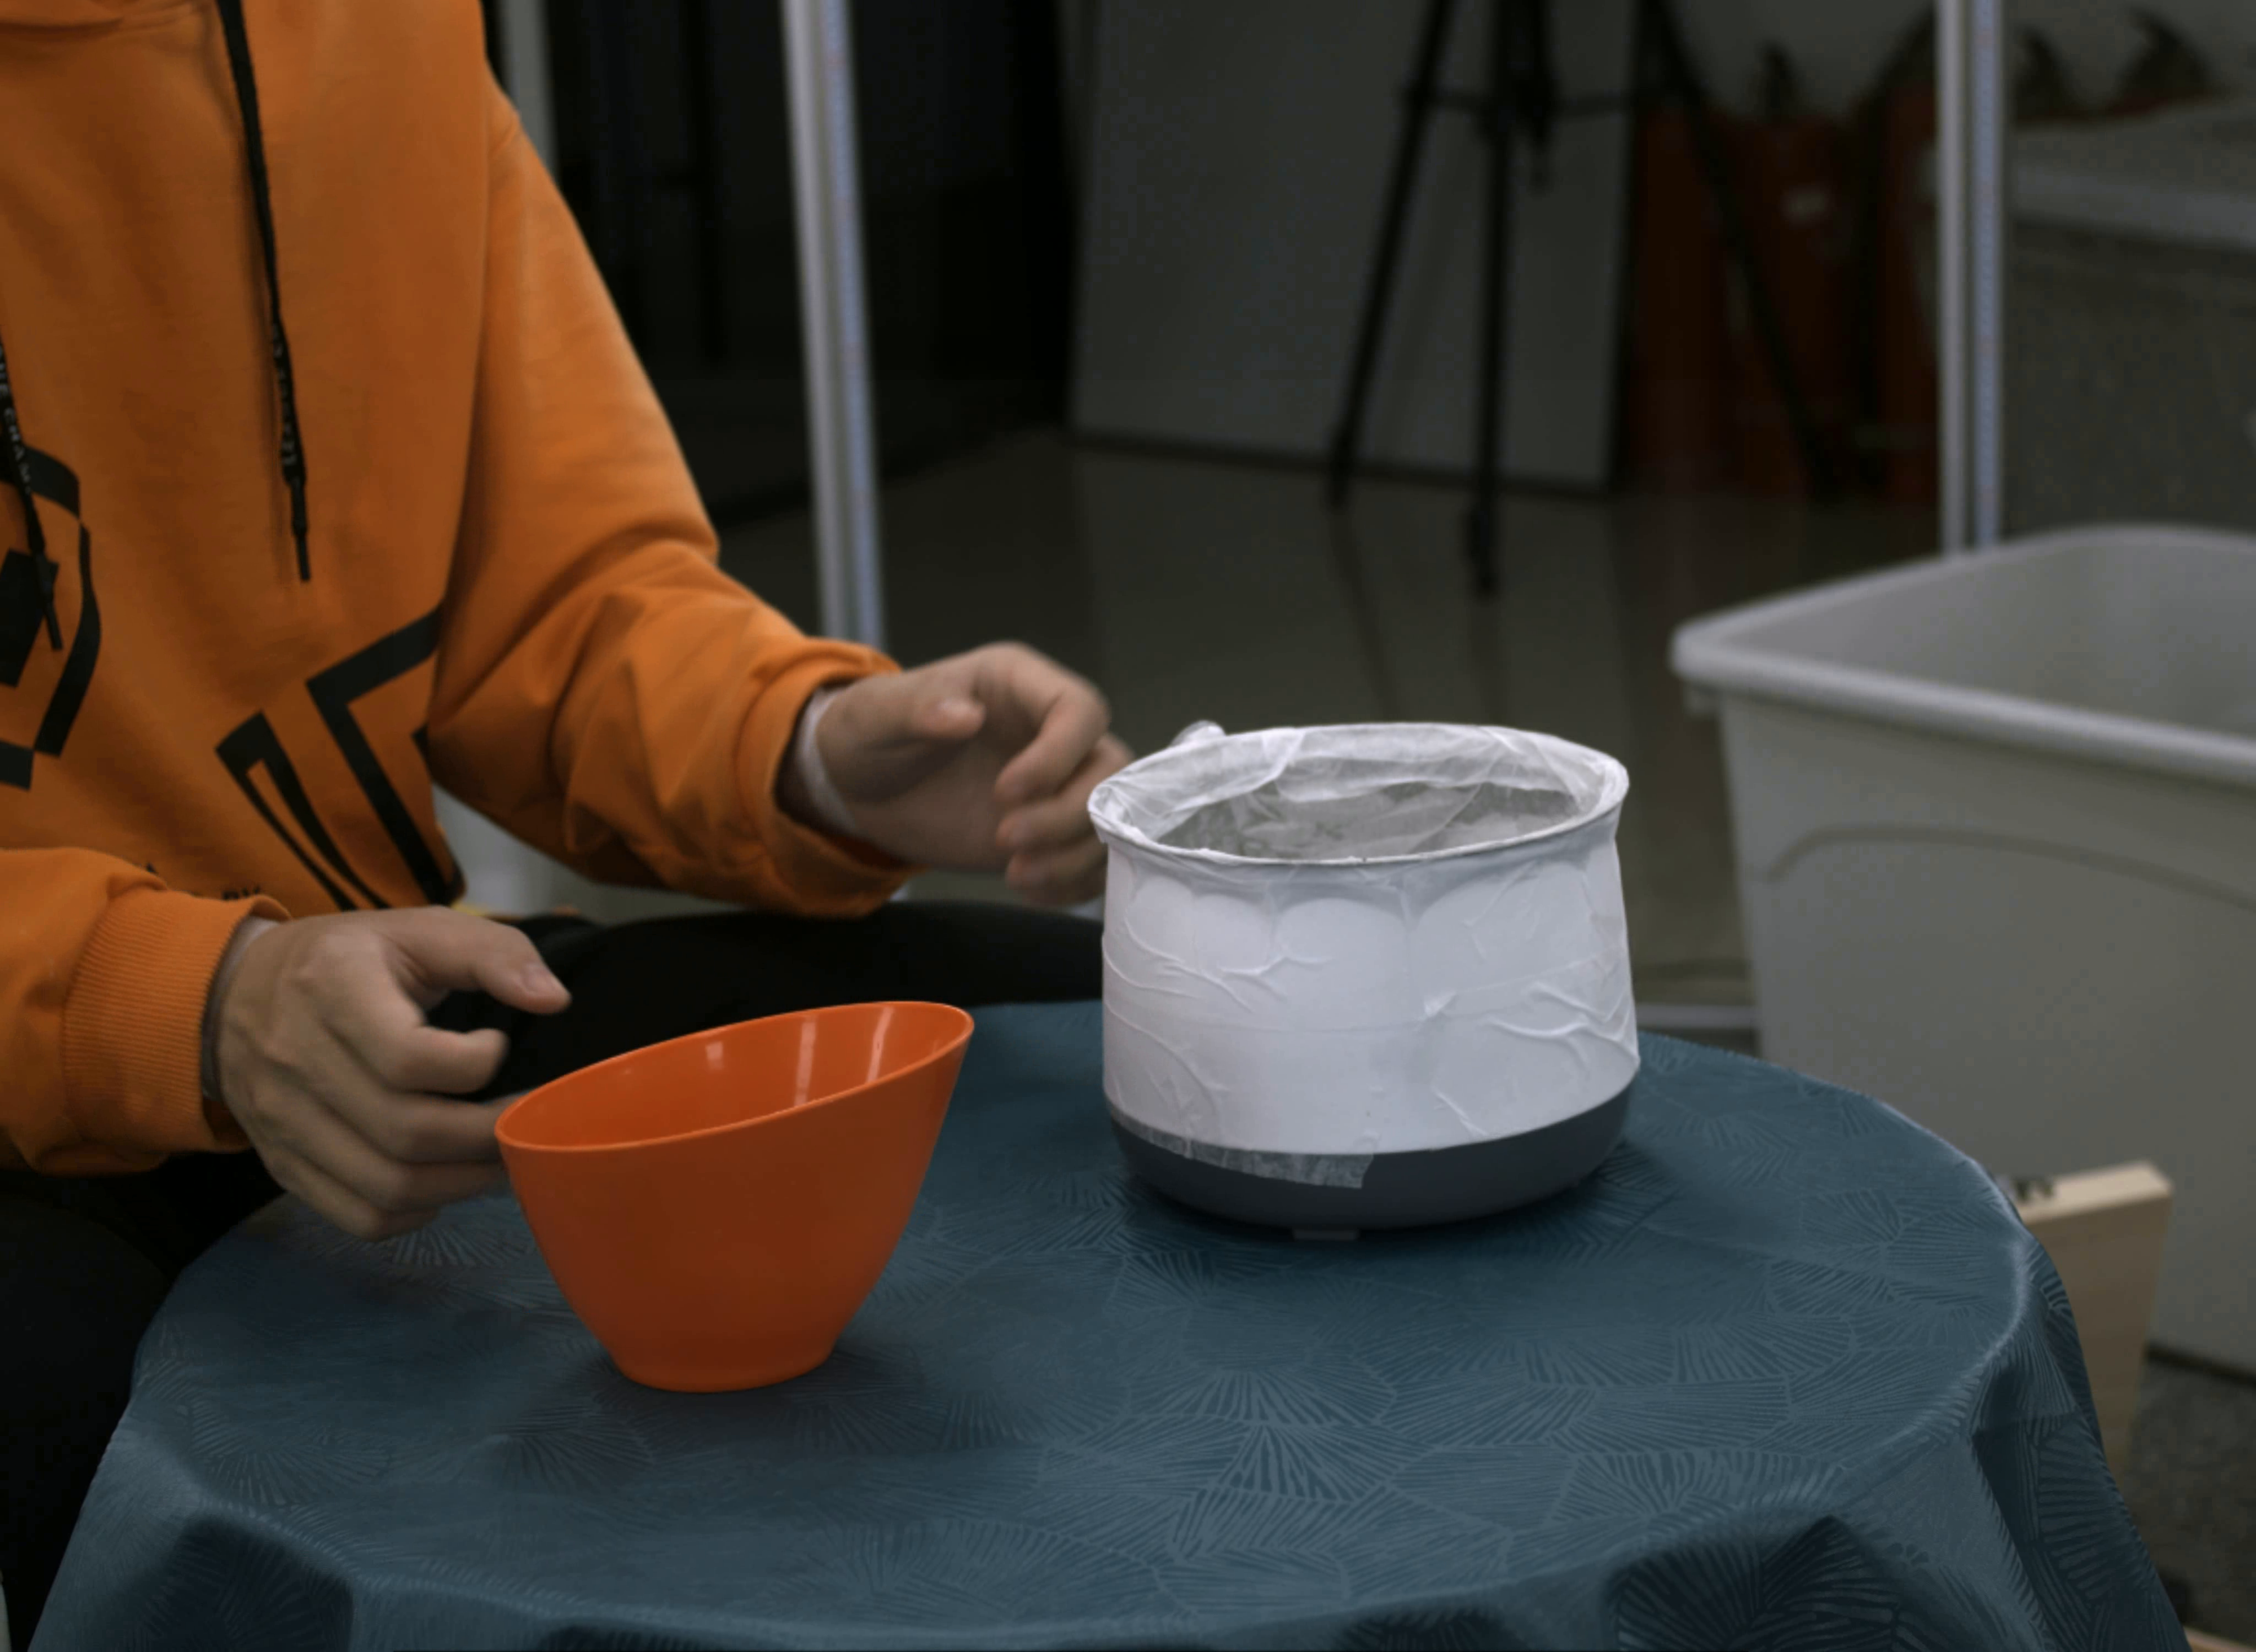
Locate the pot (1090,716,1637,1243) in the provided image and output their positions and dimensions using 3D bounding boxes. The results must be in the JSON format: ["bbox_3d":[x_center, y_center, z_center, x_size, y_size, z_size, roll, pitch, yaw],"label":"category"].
[{"bbox_3d":[0.063,0.043,1.778,0.175,0.138,0.236,-11,16,-29],"label":"pot"}]

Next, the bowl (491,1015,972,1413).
[{"bbox_3d":[-0.115,0.117,1.622,0.146,0.106,0.148,-5,12,0],"label":"bowl"}]
